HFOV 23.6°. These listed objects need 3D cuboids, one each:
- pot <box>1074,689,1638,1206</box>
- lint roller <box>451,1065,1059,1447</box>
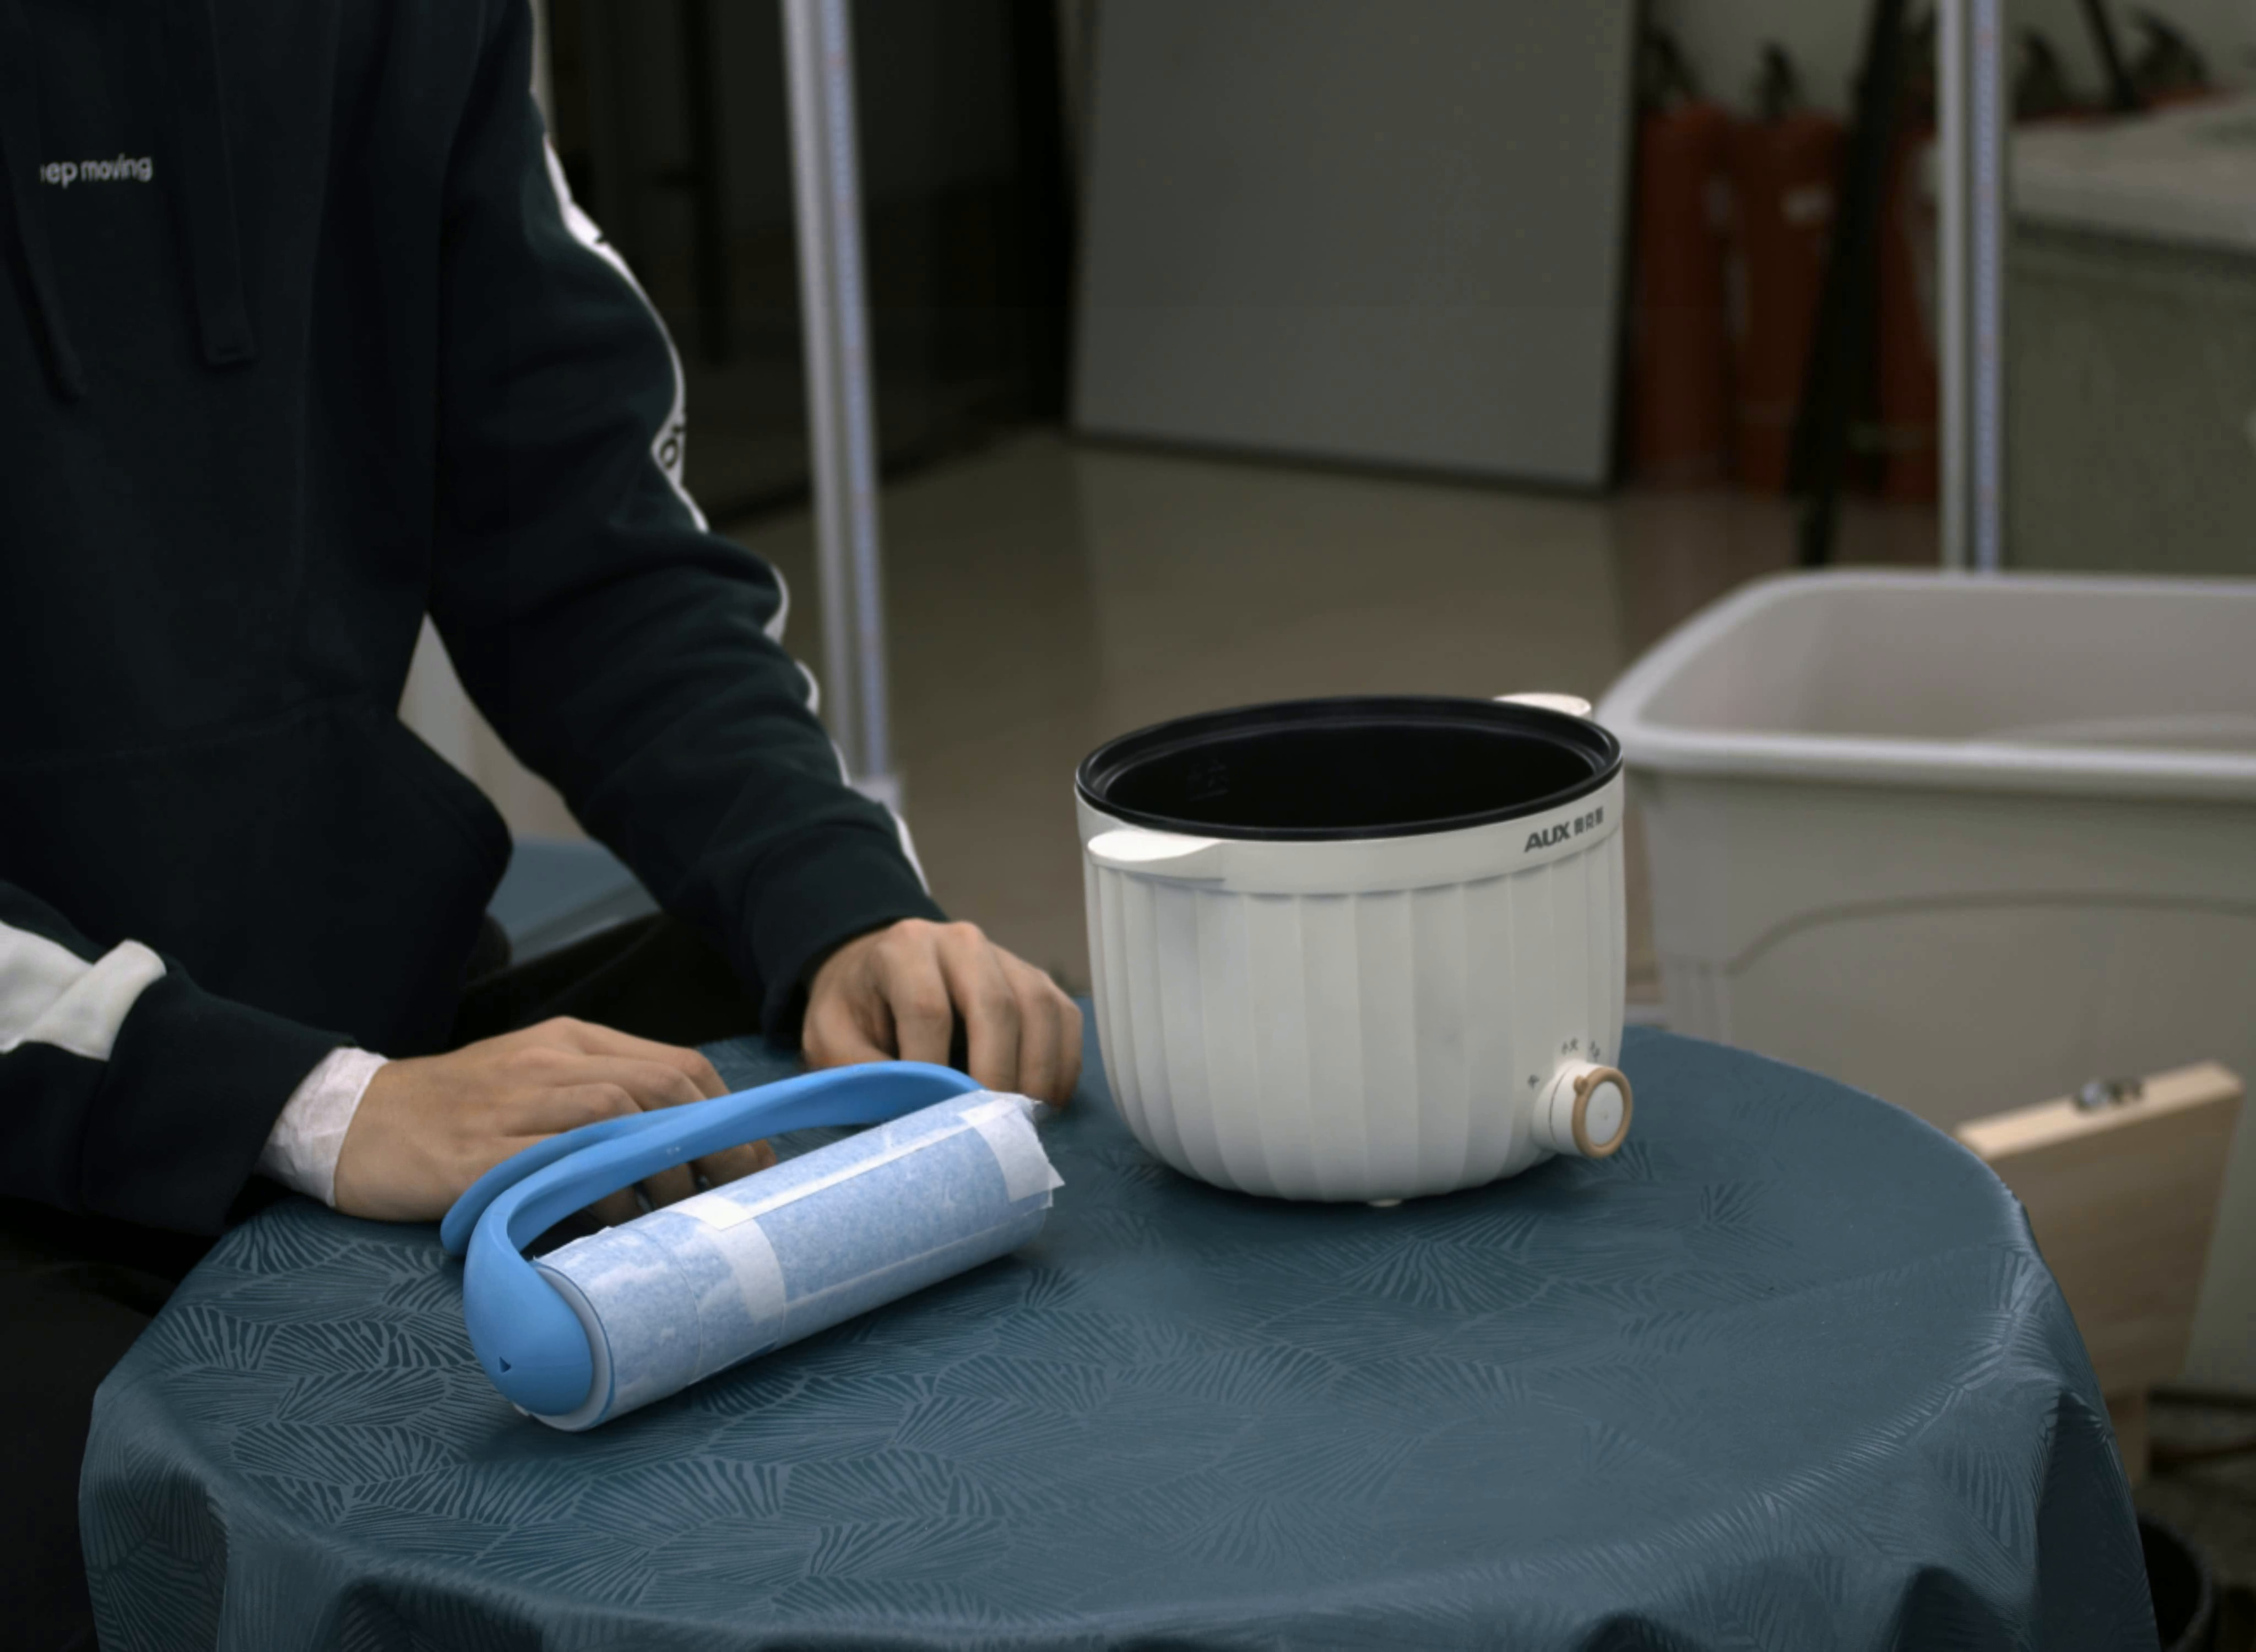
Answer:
[{"bbox_3d":[0.081,0.042,1.777,0.192,0.144,0.236,4,17,41],"label":"pot"},{"bbox_3d":[-0.148,0.125,1.683,0.181,0.068,0.225,8,20,38],"label":"lint roller"}]
